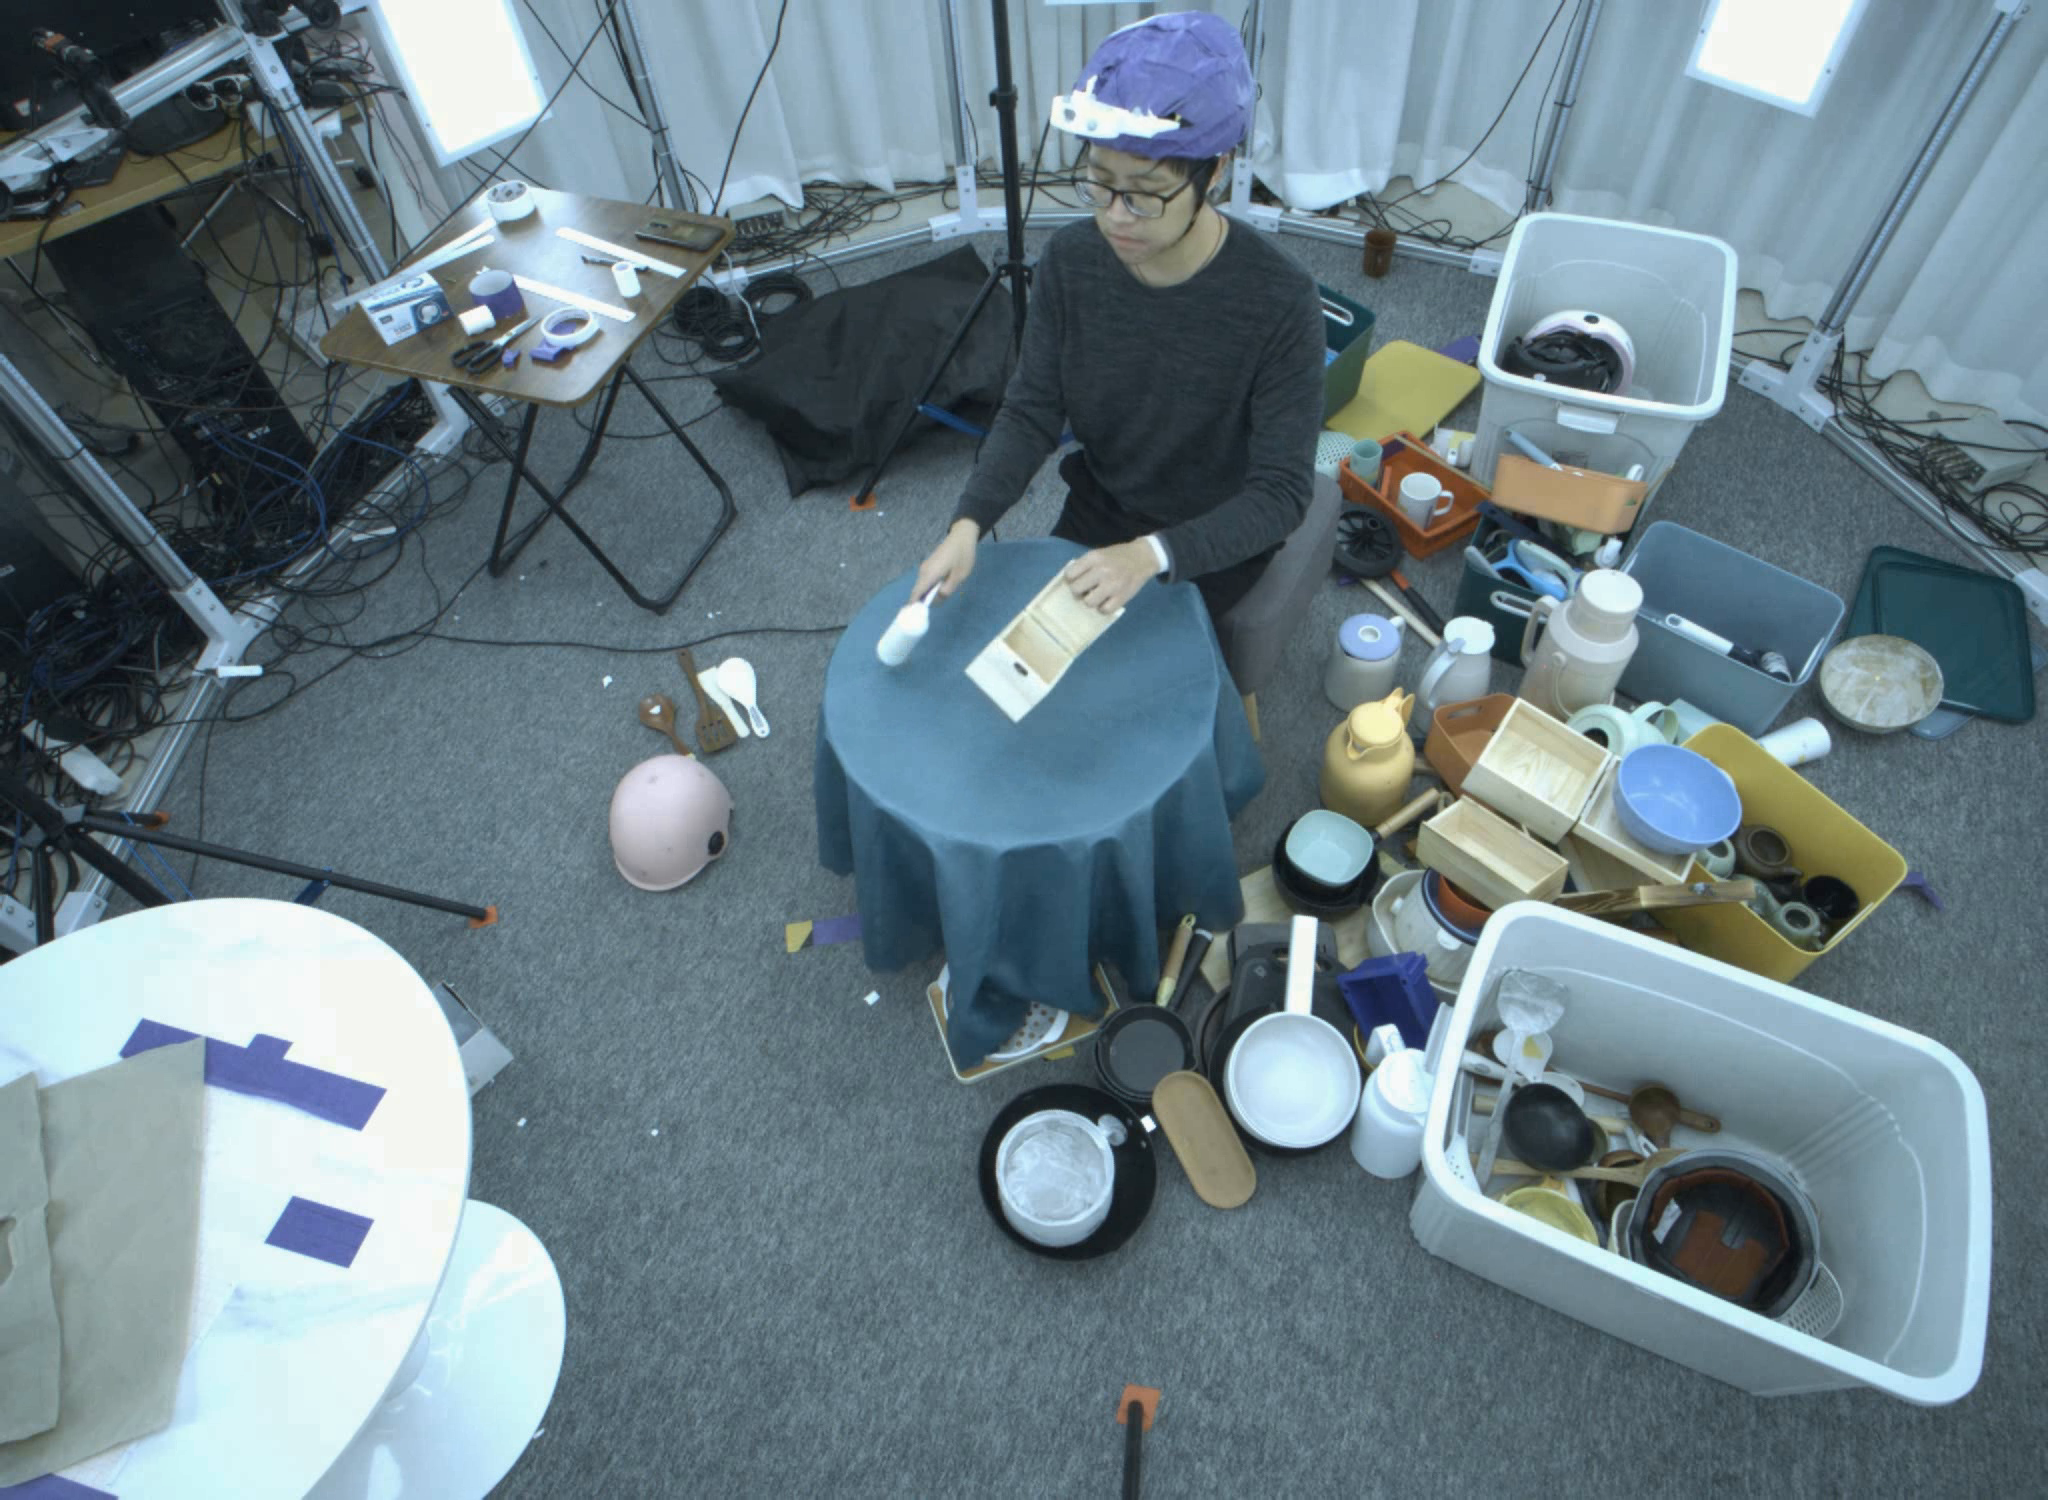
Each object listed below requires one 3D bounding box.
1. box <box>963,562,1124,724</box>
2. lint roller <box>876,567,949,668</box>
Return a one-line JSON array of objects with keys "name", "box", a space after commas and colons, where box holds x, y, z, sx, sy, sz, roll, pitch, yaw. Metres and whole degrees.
[{"name": "box", "box": [0.027, -0.146, 1.685, 0.103, 0.183, 0.134, 44, 37, -6]}, {"name": "lint roller", "box": [-0.162, -0.216, 1.843, 0.051, 0.131, 0.180, 27, 62, -15]}]
